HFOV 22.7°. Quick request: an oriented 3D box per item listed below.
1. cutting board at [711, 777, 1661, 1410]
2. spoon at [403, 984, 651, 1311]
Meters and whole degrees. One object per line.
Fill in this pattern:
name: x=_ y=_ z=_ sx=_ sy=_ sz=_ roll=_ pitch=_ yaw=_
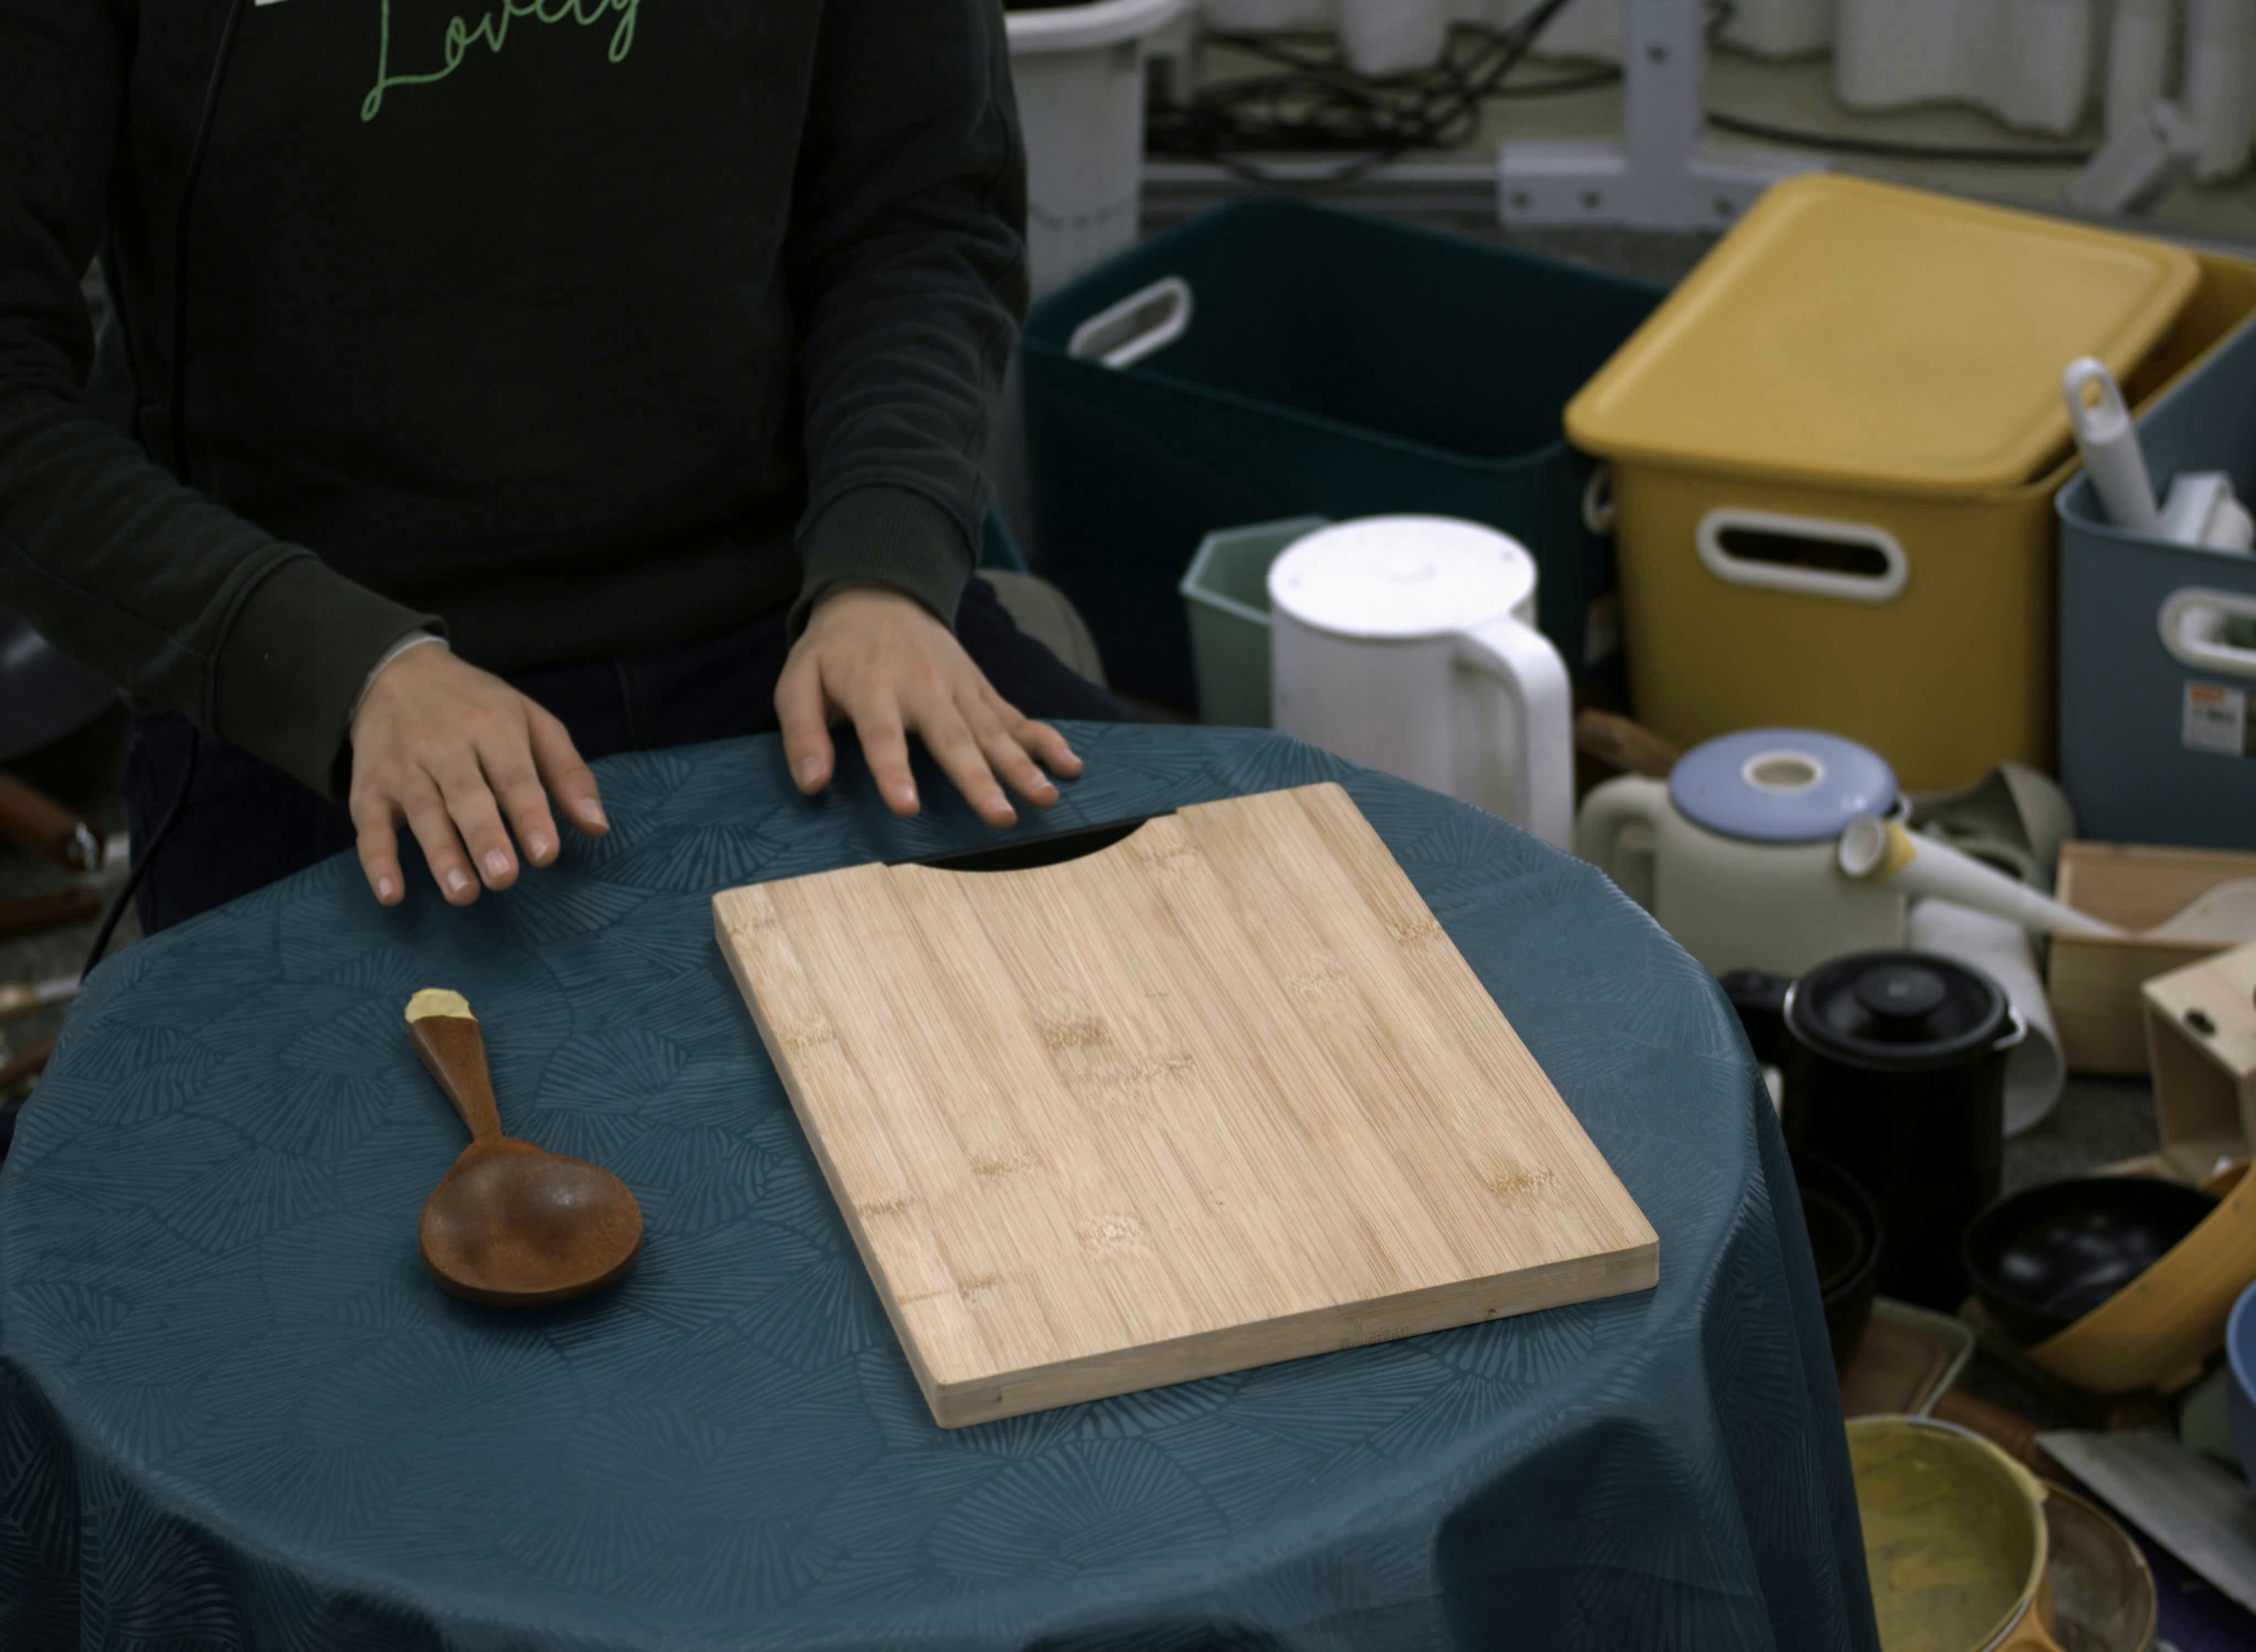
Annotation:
cutting board: x=0.009 y=0.084 z=1.916 sx=0.251 sy=0.023 sz=0.352 roll=-10 pitch=28 yaw=-14
spoon: x=-0.212 y=0.108 z=1.889 sx=0.075 sy=0.017 sz=0.218 roll=-12 pitch=29 yaw=-13
